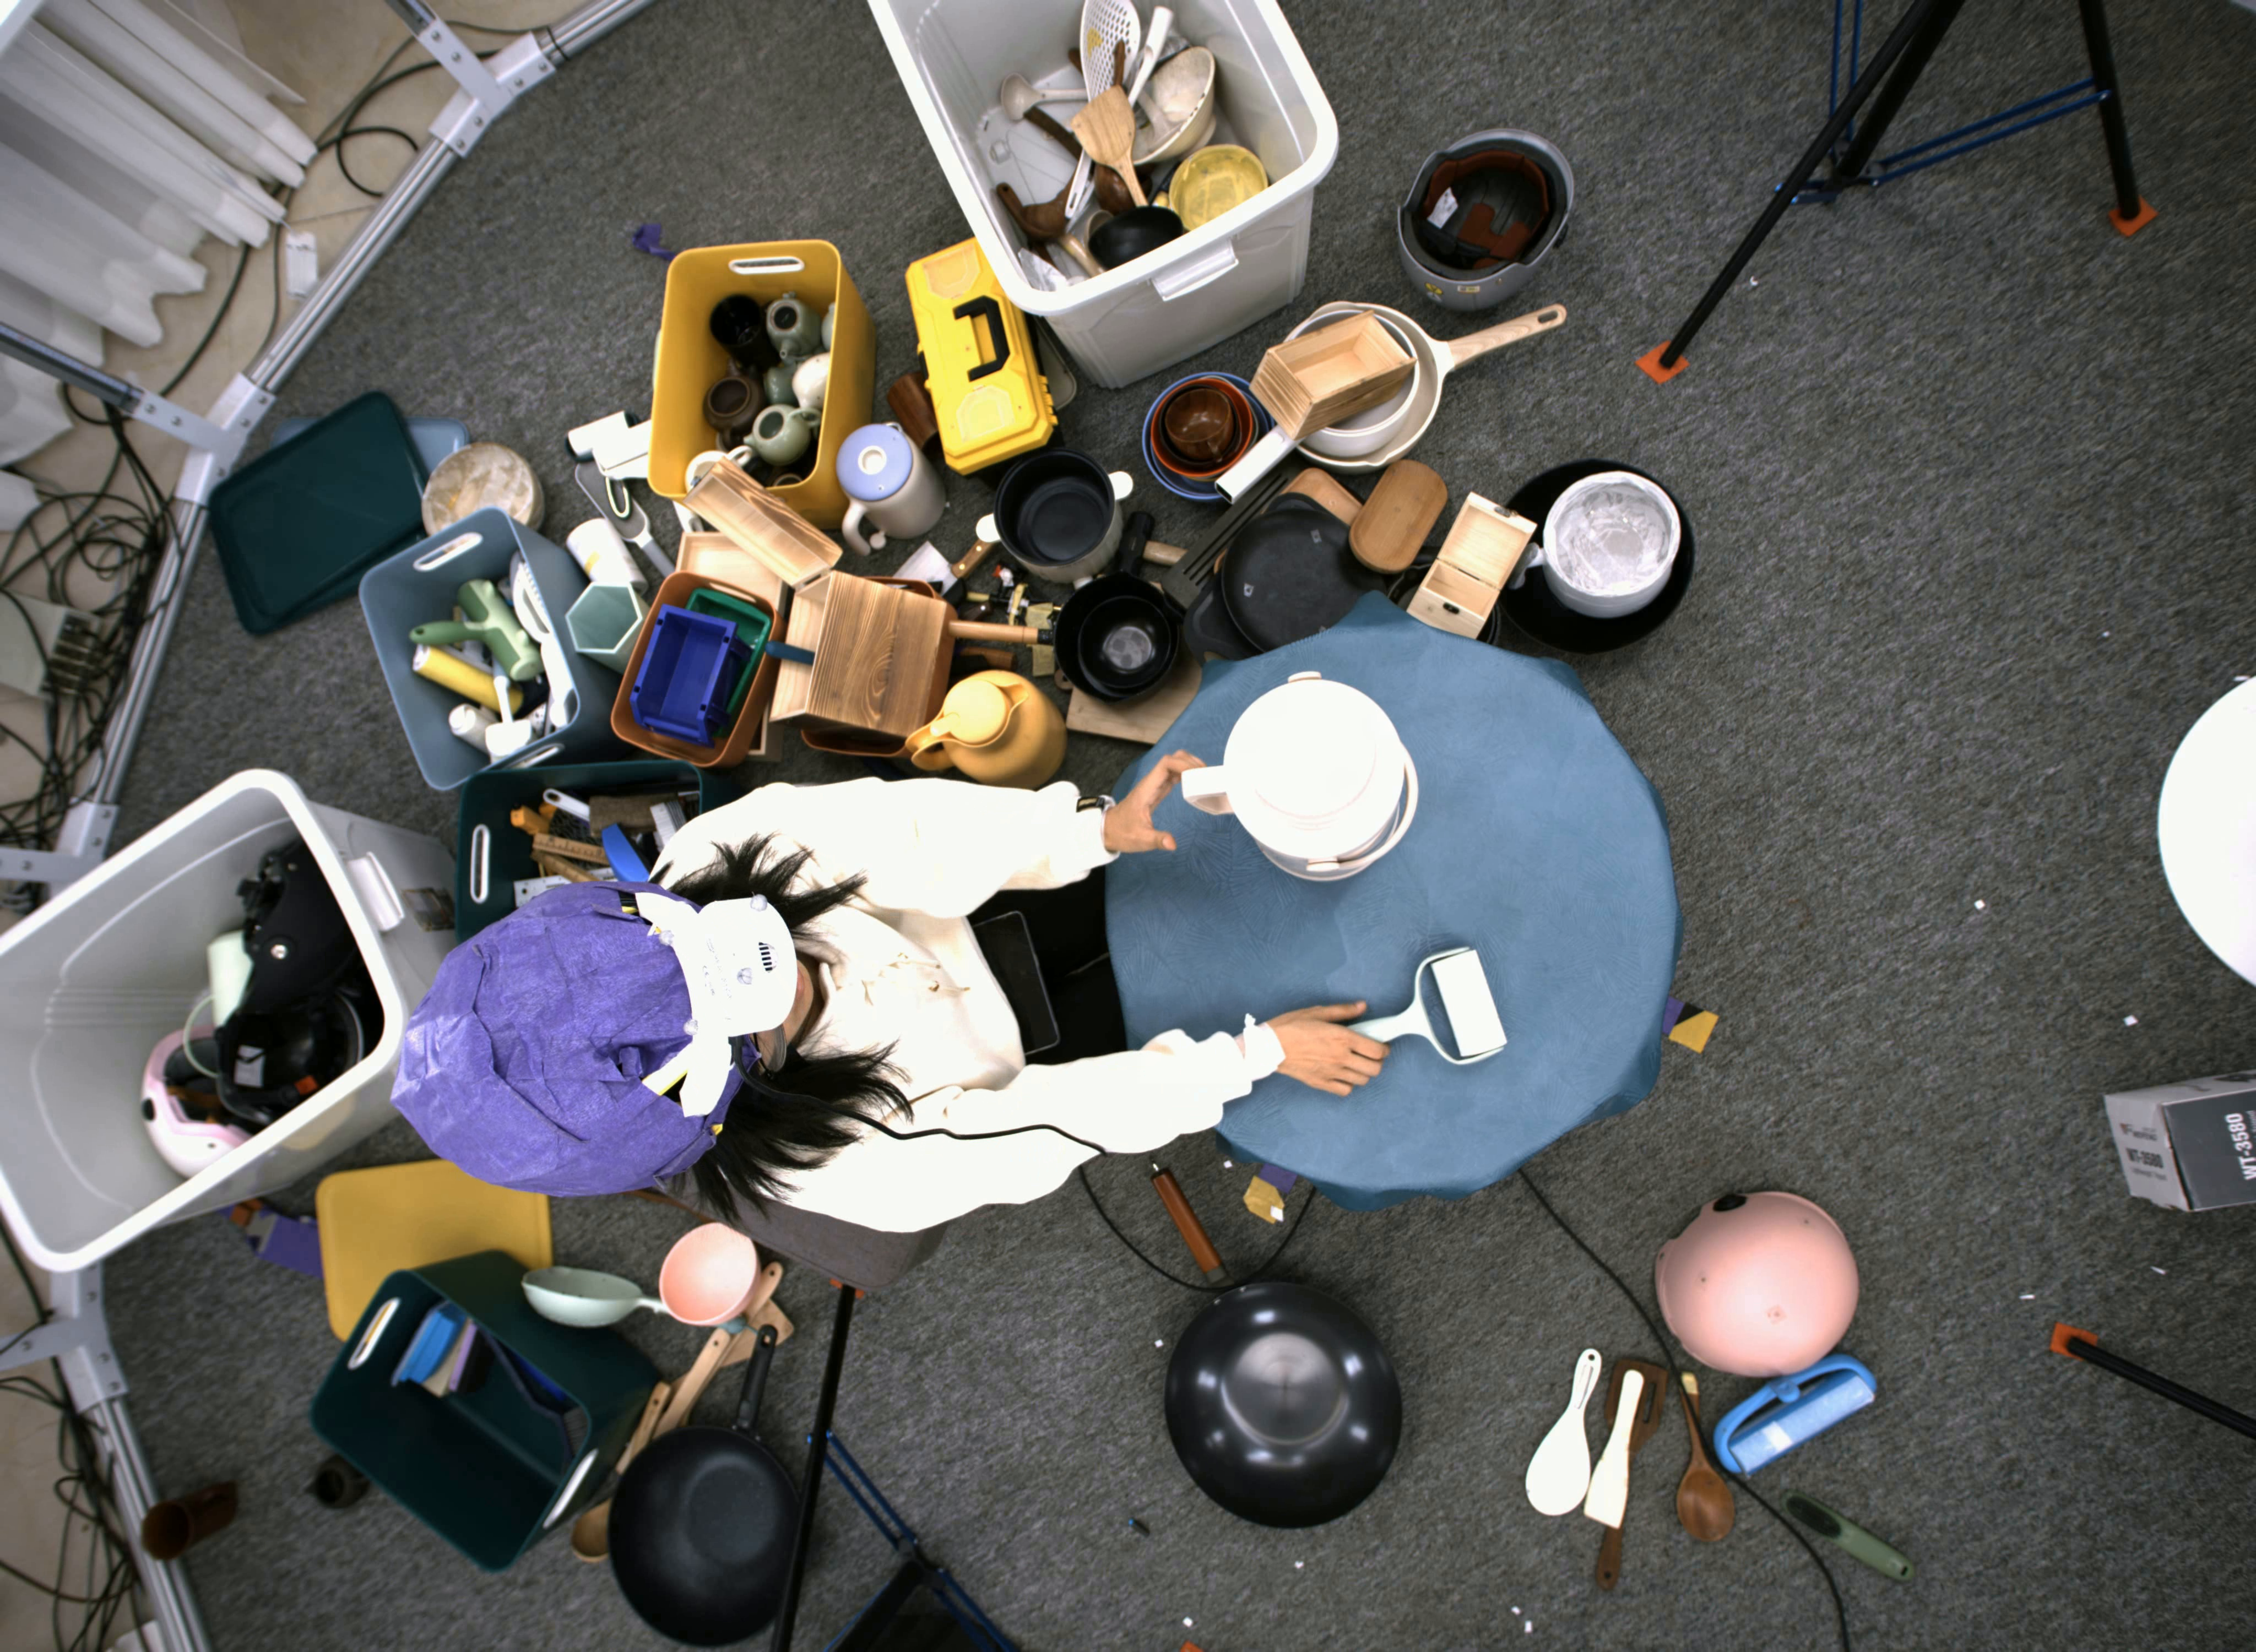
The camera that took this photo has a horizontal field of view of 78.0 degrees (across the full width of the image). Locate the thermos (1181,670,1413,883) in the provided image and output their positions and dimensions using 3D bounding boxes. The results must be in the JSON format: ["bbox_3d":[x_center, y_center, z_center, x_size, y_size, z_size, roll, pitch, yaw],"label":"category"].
[{"bbox_3d":[0.162,-0.041,1.286,0.208,0.407,0.174,-6,84,10],"label":"thermos"}]

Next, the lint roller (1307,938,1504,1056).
[{"bbox_3d":[0.278,0.194,1.428,0.198,0.048,0.116,-18,86,8],"label":"lint roller"}]
